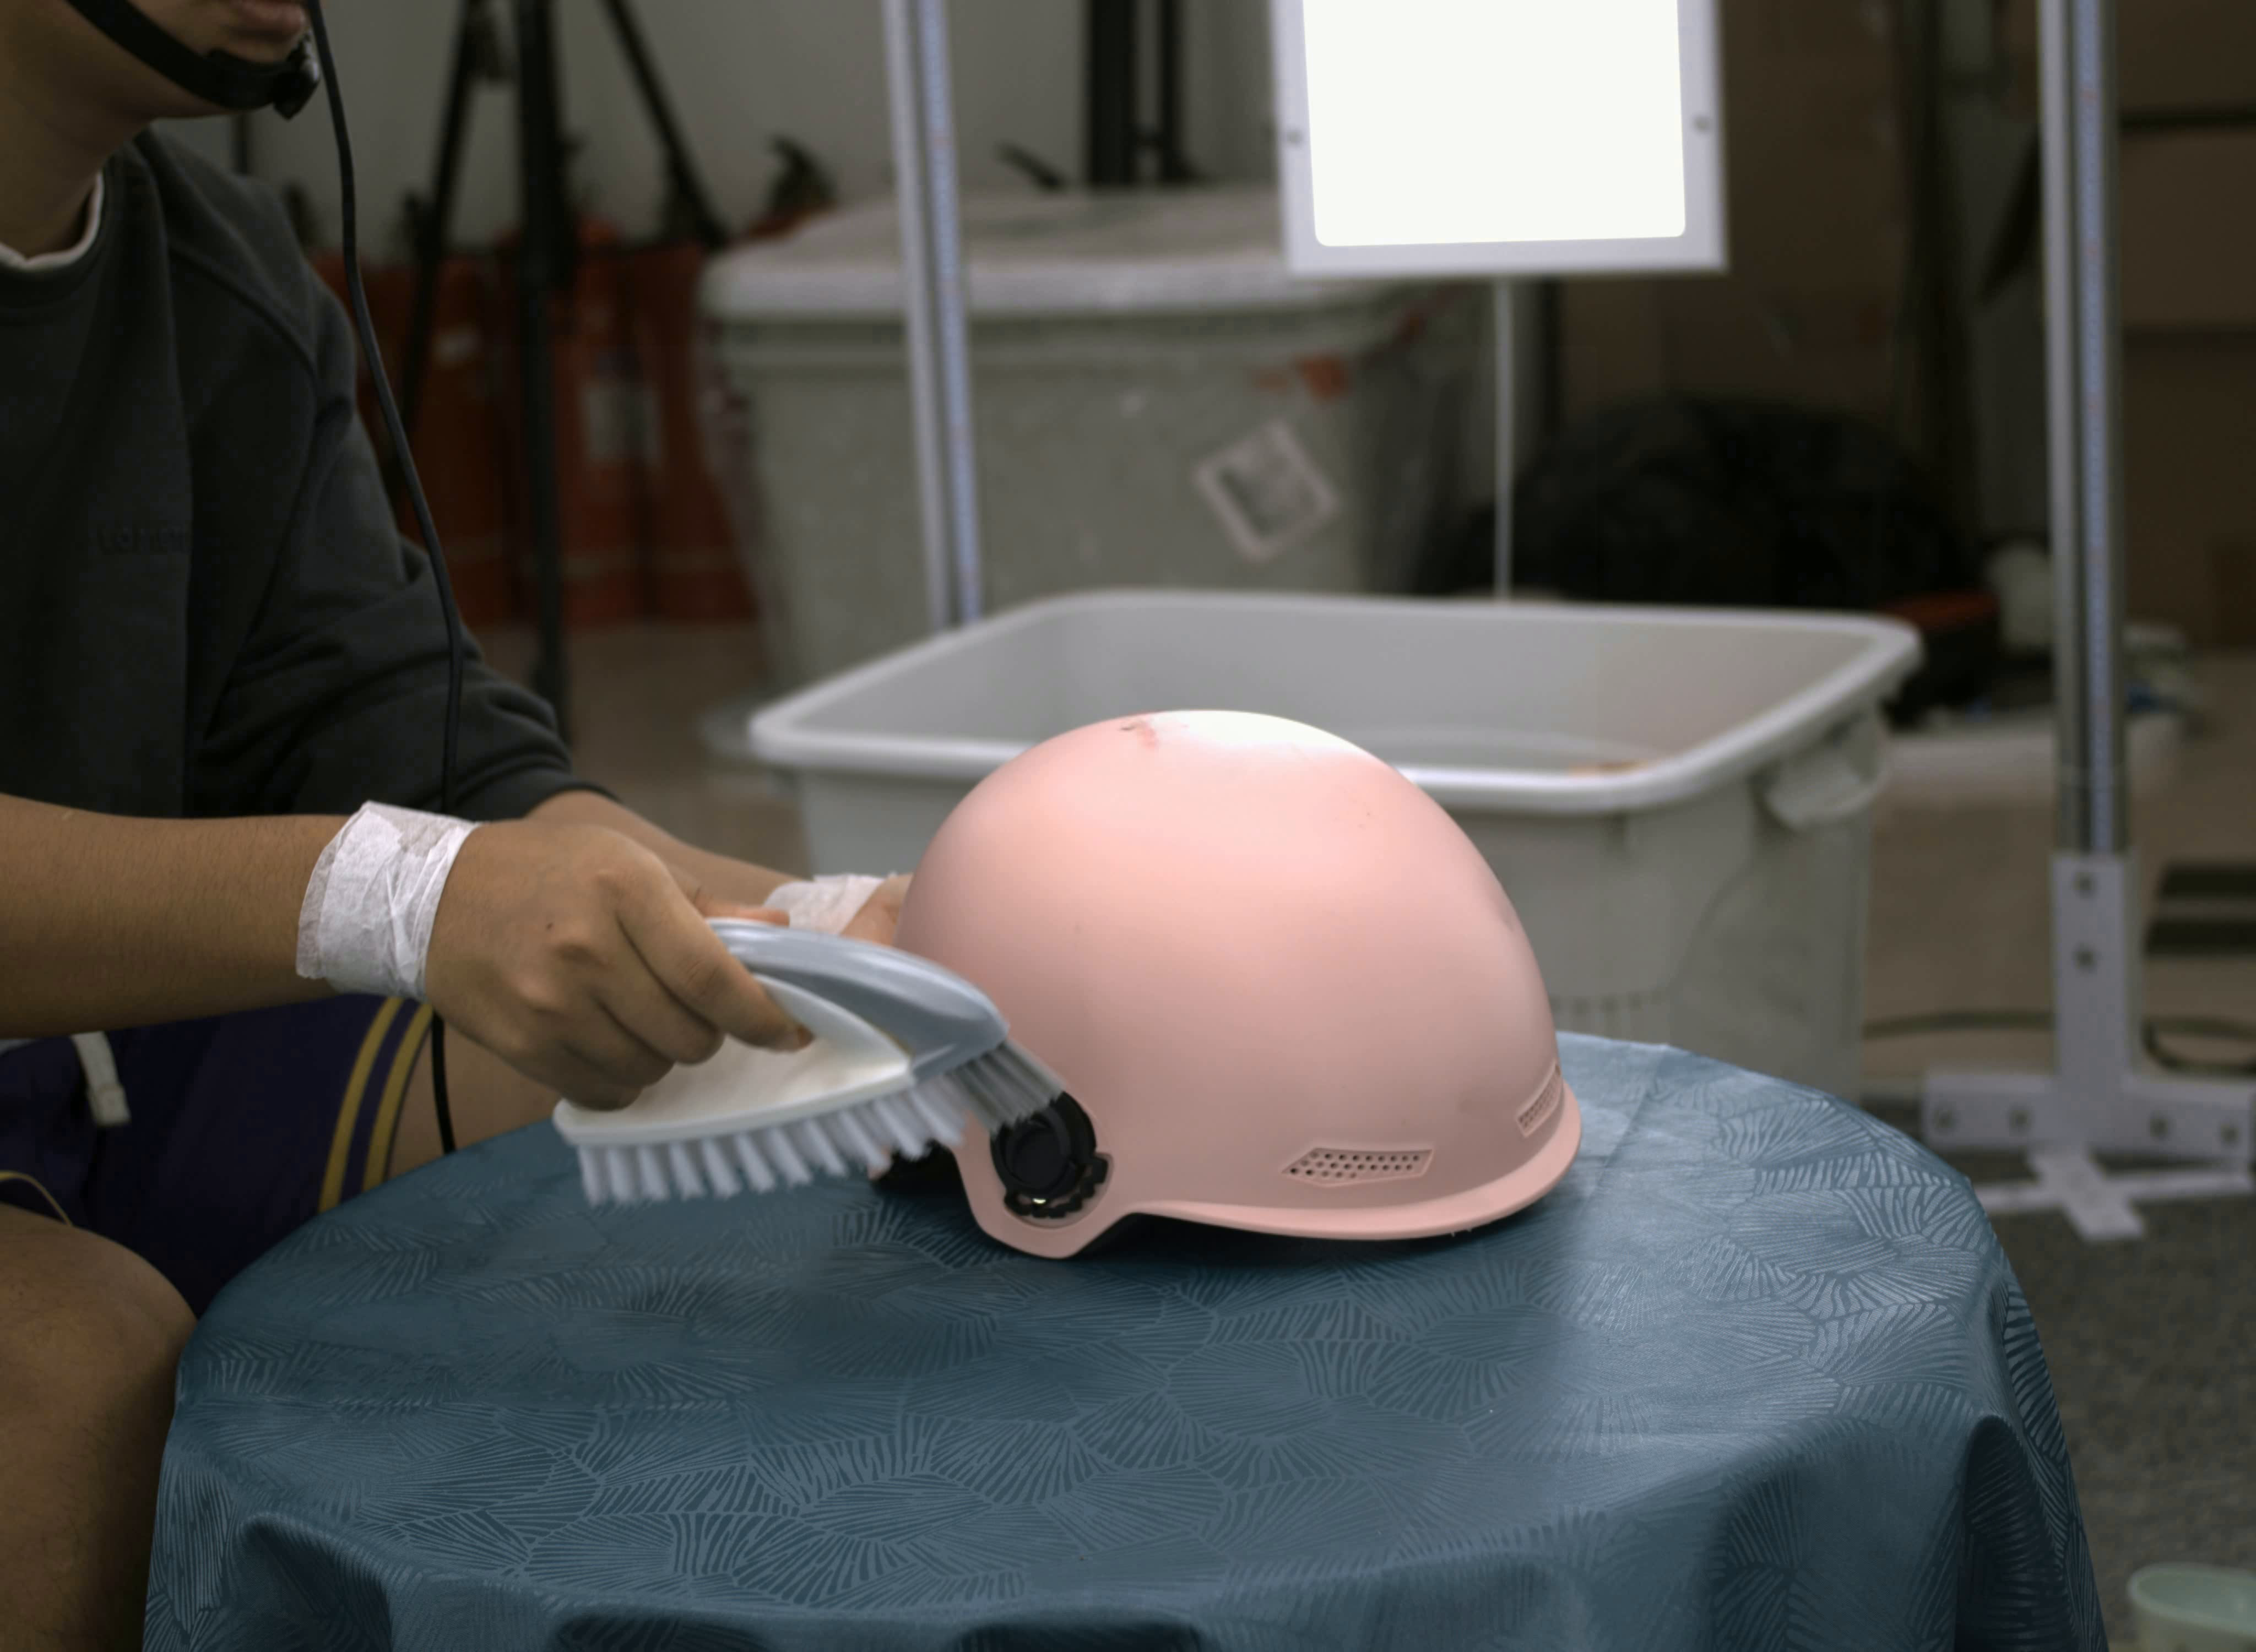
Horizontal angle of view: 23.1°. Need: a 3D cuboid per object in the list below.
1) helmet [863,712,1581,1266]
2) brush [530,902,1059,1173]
[{"bbox_3d":[0.032,0.046,1.896,0.228,0.159,0.271,-16,22,-39],"label":"helmet"},{"bbox_3d":[-0.114,0.060,1.780,0.179,0.093,0.061,-4,45,30],"label":"brush"}]
